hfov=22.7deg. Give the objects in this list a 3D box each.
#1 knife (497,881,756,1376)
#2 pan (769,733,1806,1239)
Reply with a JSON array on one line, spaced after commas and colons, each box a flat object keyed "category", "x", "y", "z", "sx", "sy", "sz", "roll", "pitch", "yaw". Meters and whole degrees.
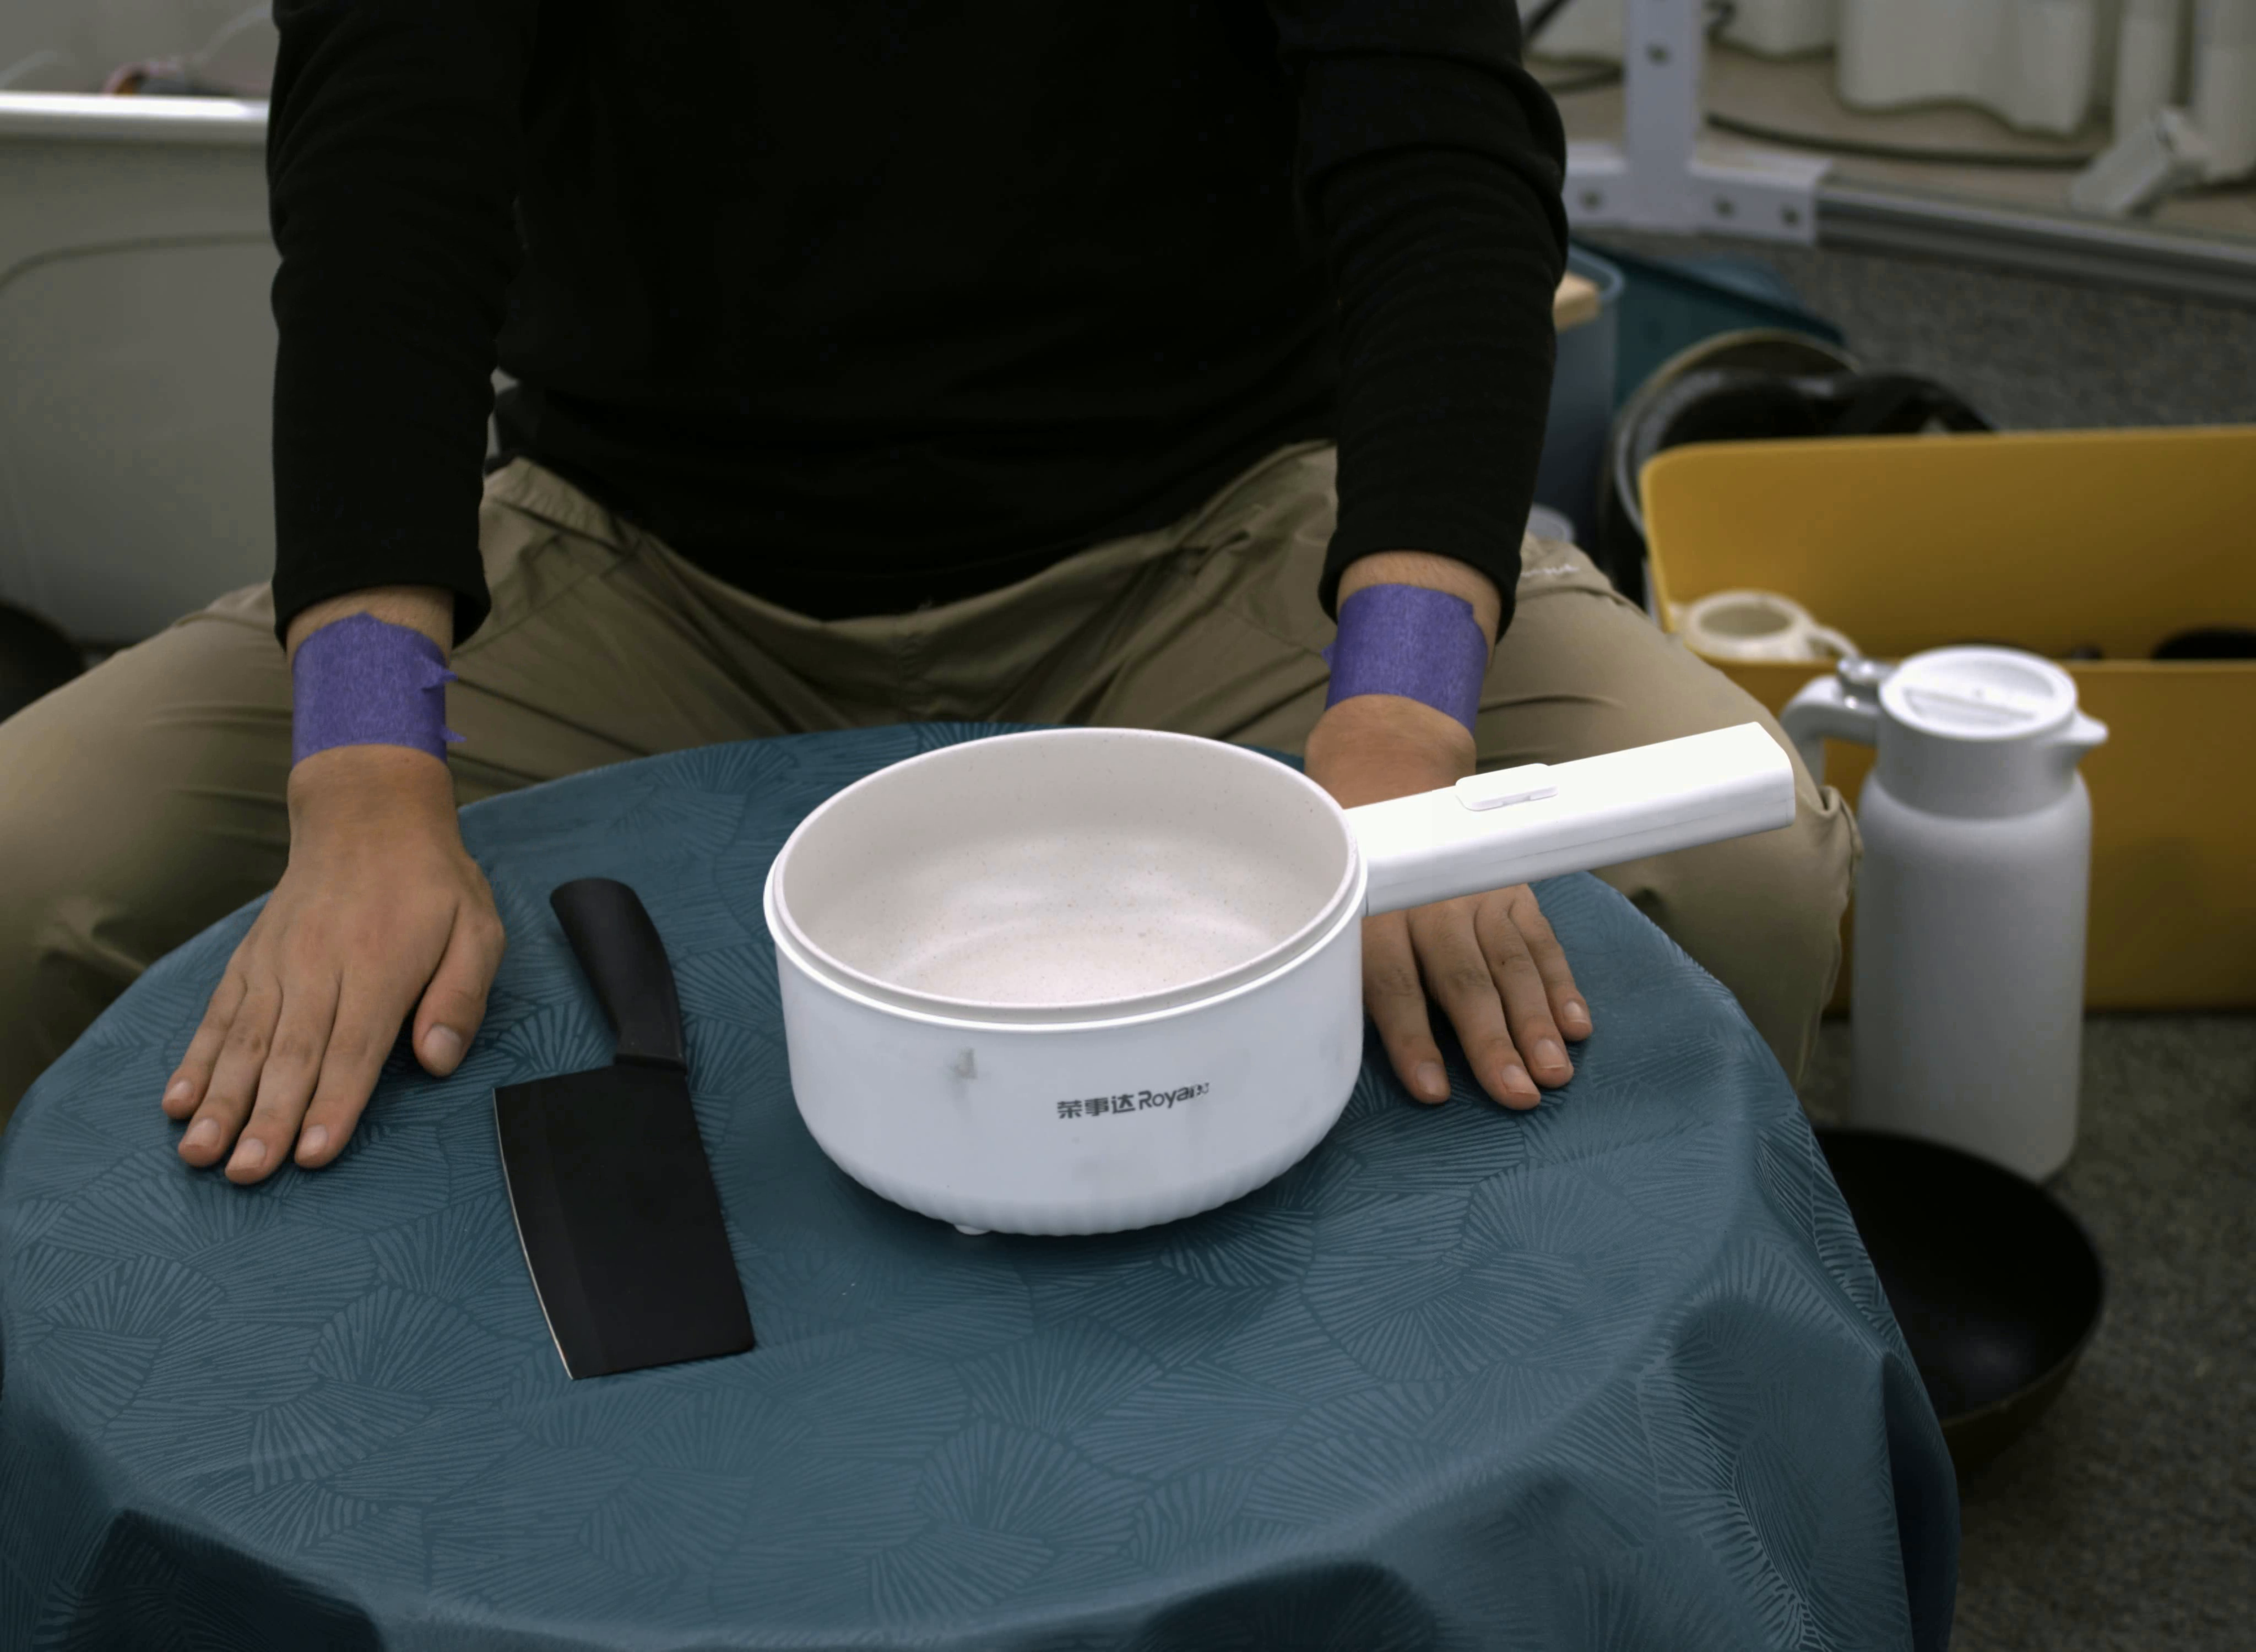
[{"category": "knife", "x": -0.175, "y": 0.099, "z": 1.905, "sx": 0.080, "sy": 0.020, "sz": 0.306, "roll": -6, "pitch": 29, "yaw": -5}, {"category": "pan", "x": 0.056, "y": 0.045, "z": 1.899, "sx": 0.355, "sy": 0.101, "sz": 0.203, "roll": -9, "pitch": 27, "yaw": -14}]
